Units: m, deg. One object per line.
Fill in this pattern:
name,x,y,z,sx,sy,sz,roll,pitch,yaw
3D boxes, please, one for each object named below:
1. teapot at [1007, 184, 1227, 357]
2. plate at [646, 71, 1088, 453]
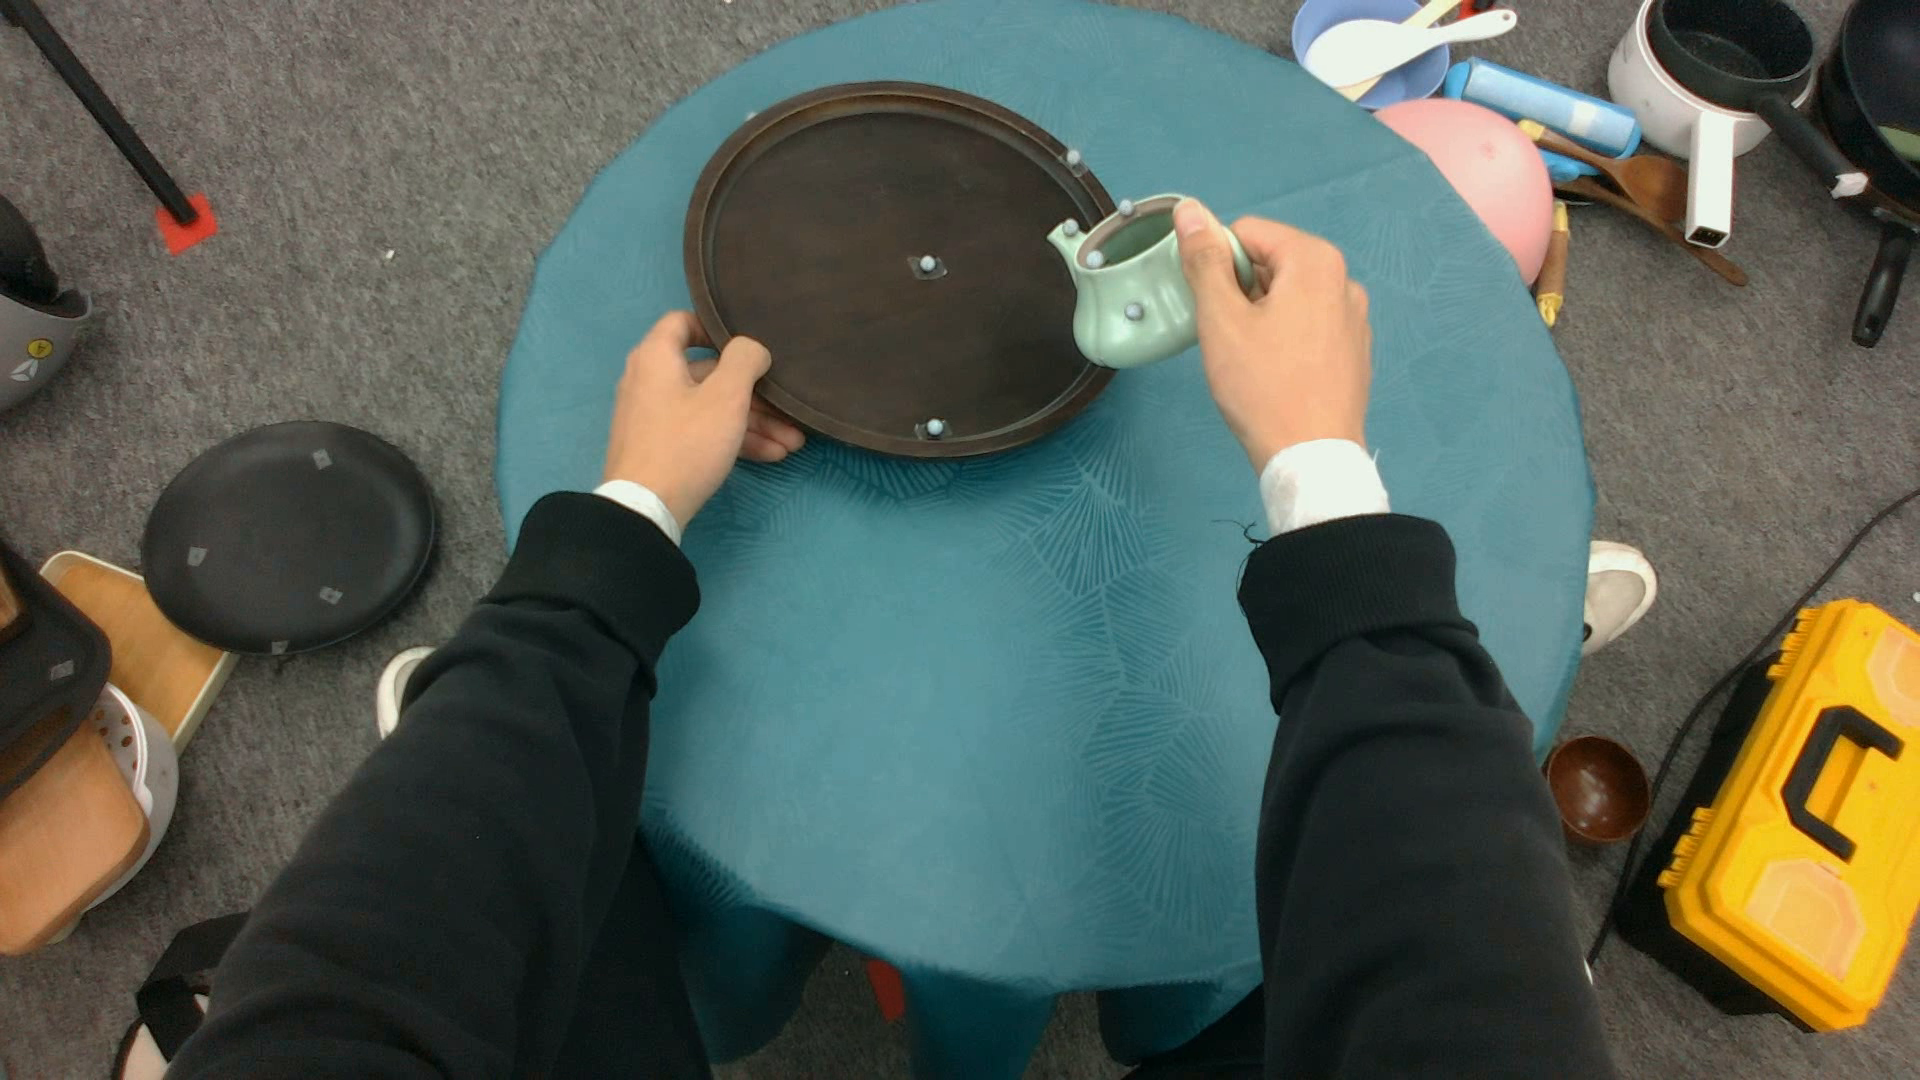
teapot,0.081,-0.134,0.672,0.096,0.137,0.061,-46,122,-20
plate,-0.044,-0.157,0.759,0.255,0.029,0.256,6,62,-11
